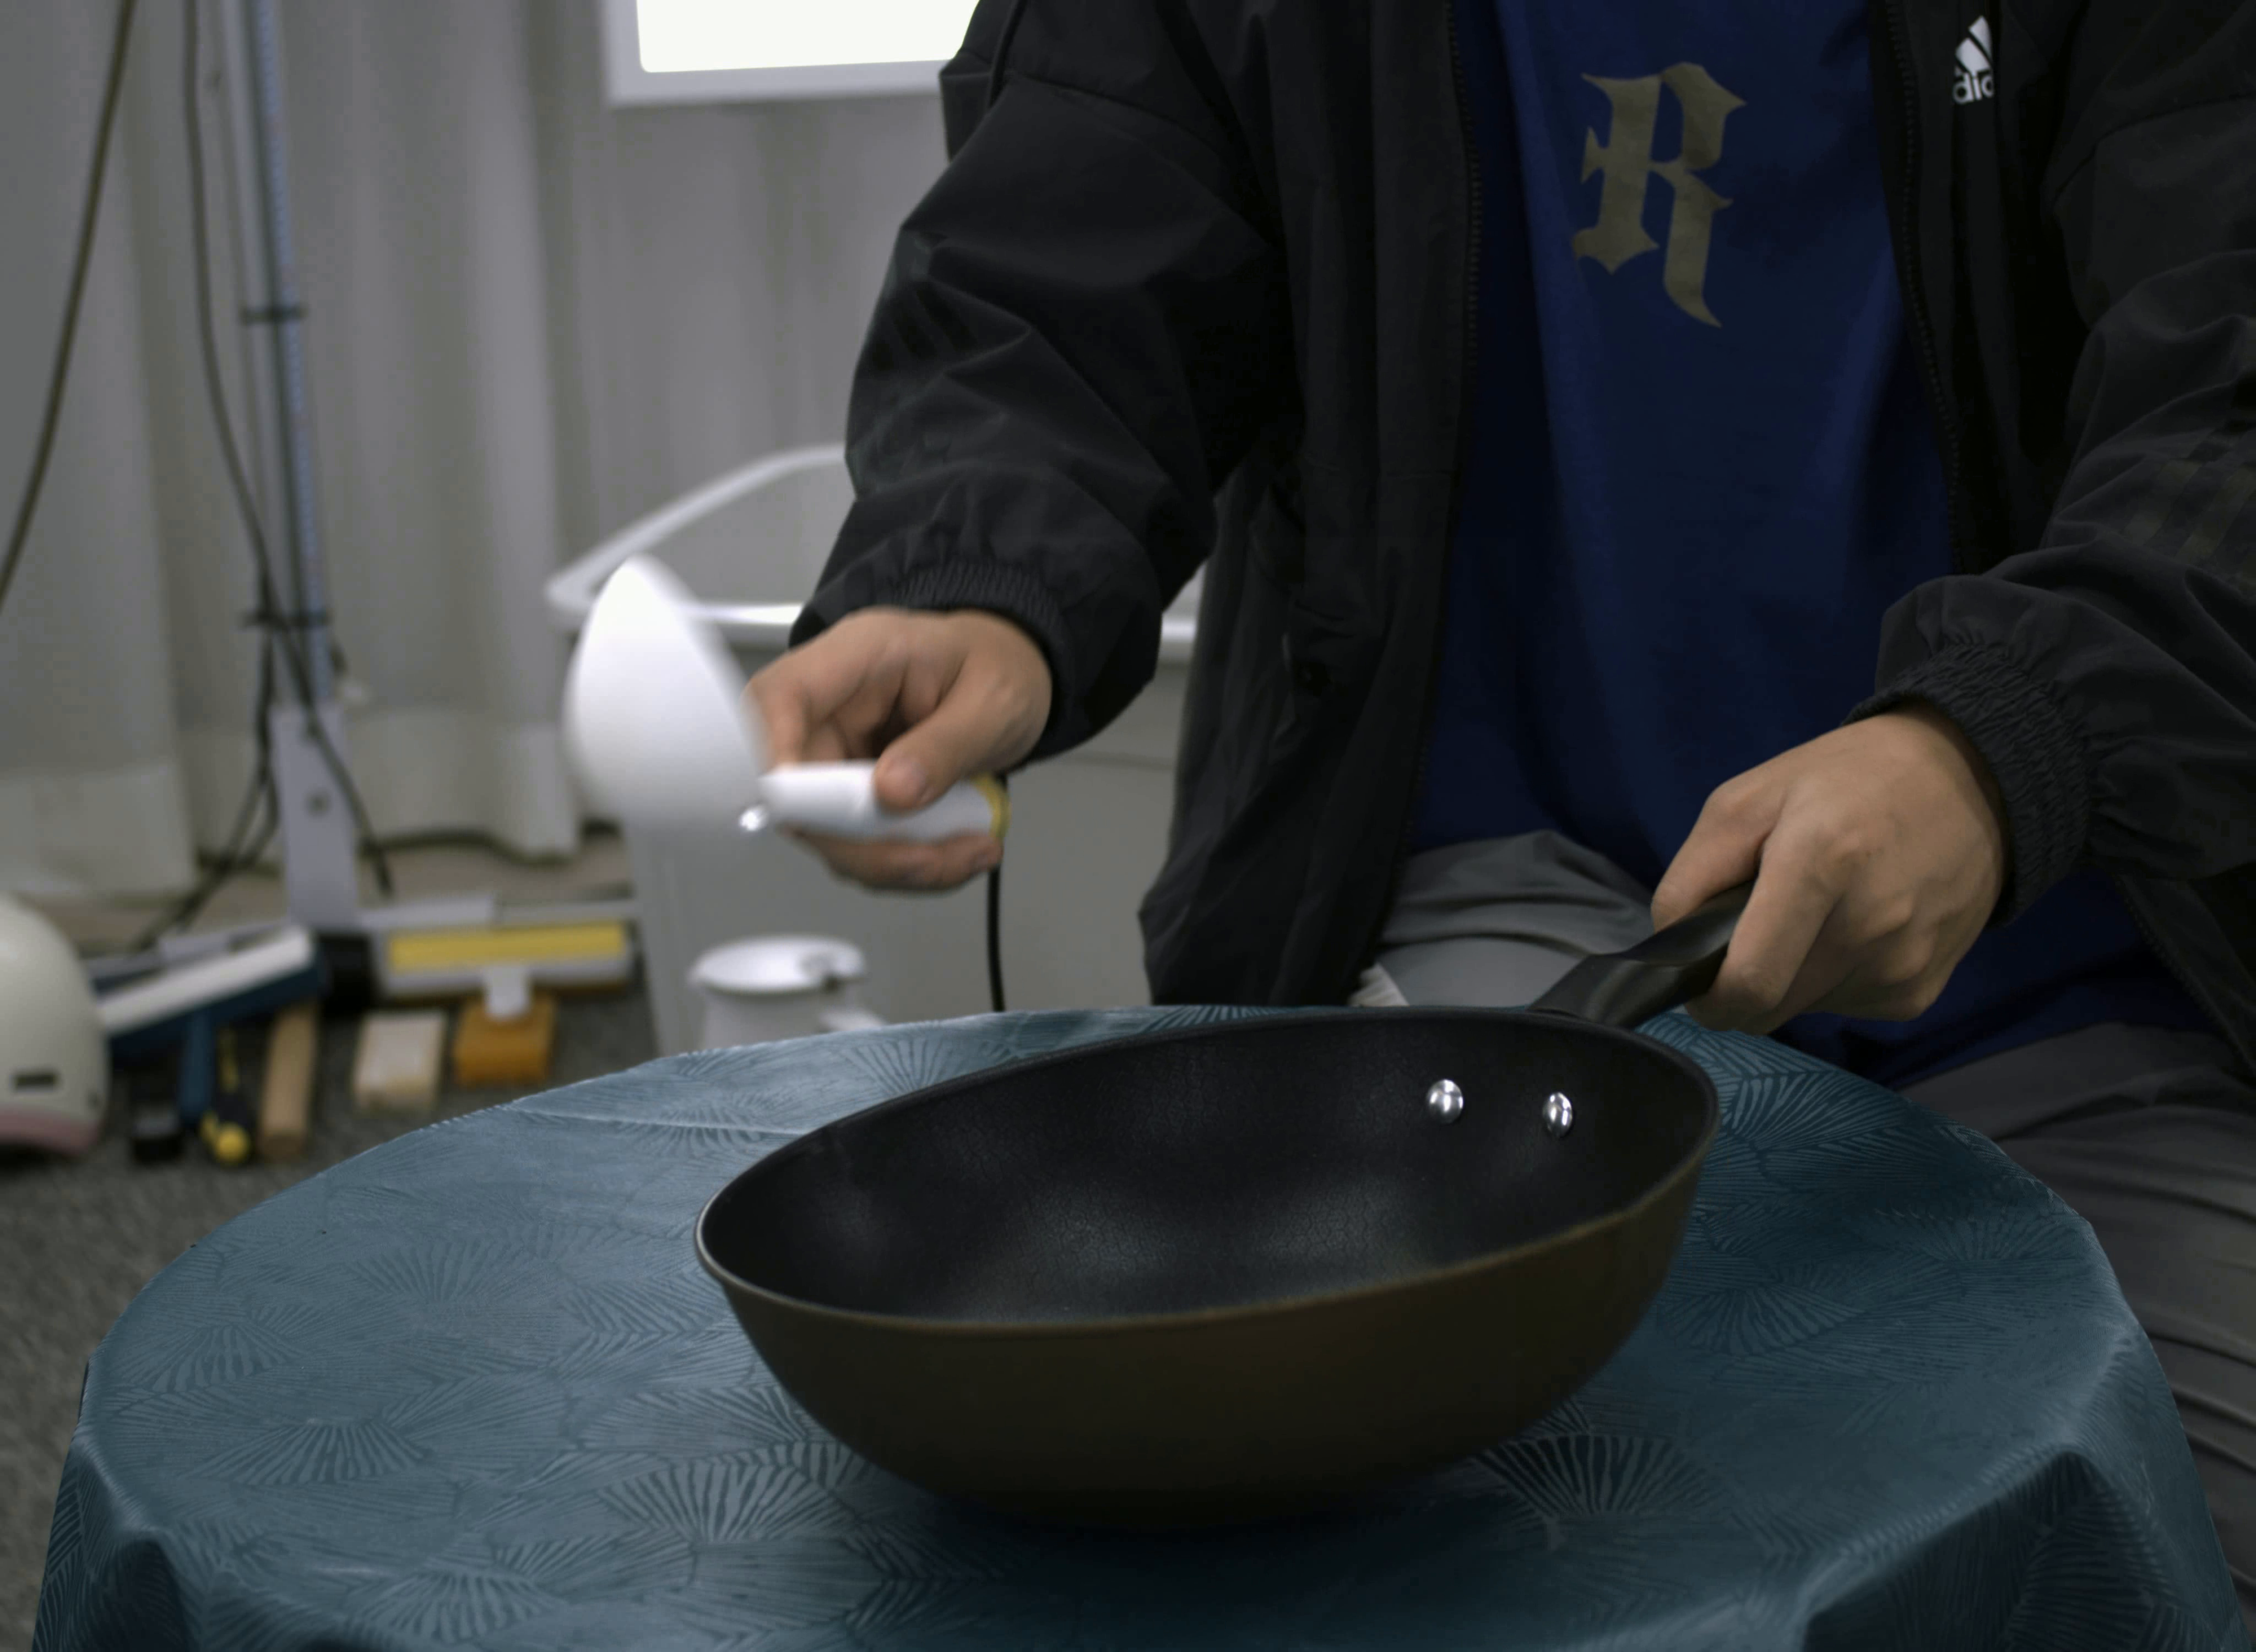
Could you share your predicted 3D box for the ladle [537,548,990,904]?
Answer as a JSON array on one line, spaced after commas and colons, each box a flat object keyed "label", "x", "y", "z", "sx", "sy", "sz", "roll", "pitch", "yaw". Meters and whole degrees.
[{"label": "ladle", "x": -0.098, "y": -0.020, "z": 1.663, "sx": 0.070, "sy": 0.091, "sz": 0.291, "roll": -42, "pitch": -20, "yaw": 12}]

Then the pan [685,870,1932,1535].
[{"label": "pan", "x": 0.085, "y": 0.104, "z": 1.542, "sx": 0.289, "sy": 0.086, "sz": 0.463, "roll": 5, "pitch": 17, "yaw": 42}]
